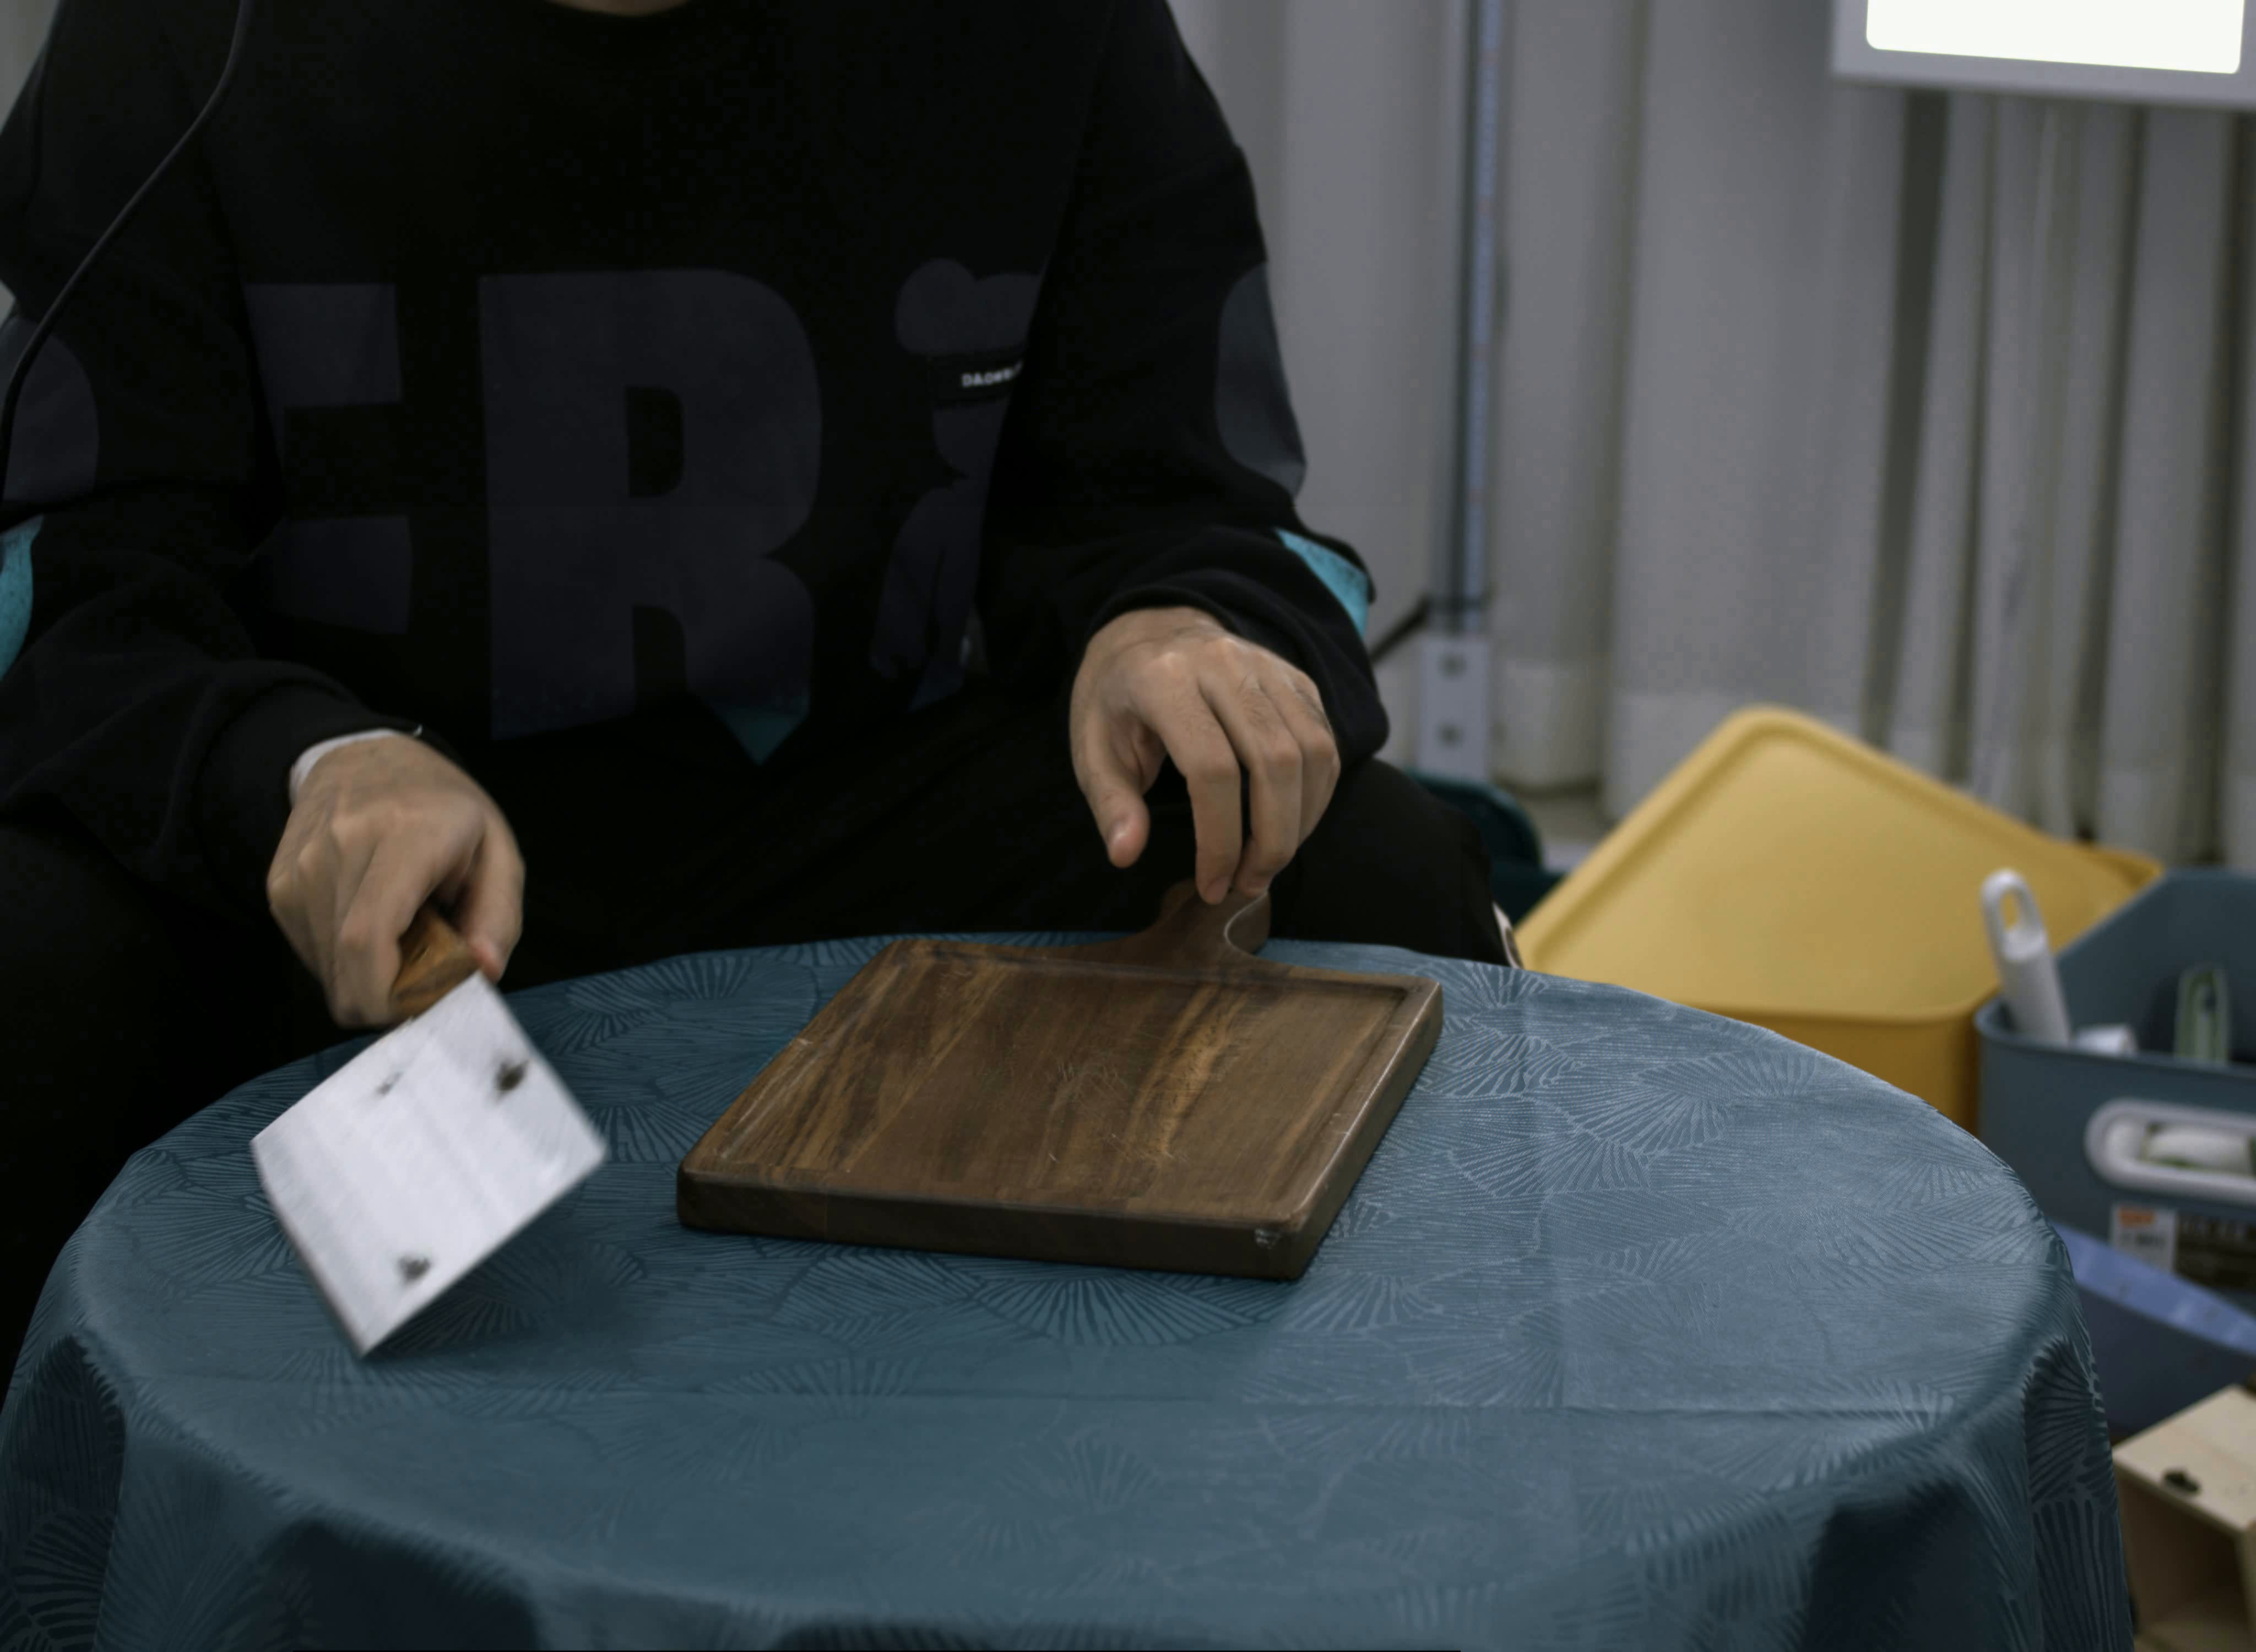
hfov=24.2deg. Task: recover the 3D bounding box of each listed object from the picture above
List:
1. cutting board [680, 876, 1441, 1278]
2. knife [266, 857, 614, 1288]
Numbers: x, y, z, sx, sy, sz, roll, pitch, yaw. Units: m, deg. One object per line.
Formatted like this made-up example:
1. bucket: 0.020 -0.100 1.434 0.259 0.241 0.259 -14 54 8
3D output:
1. cutting board: -0.004 0.073 1.723 0.199 0.023 0.351 4 16 12
2. knife: -0.224 0.075 1.615 0.093 0.021 0.302 -41 23 -5
